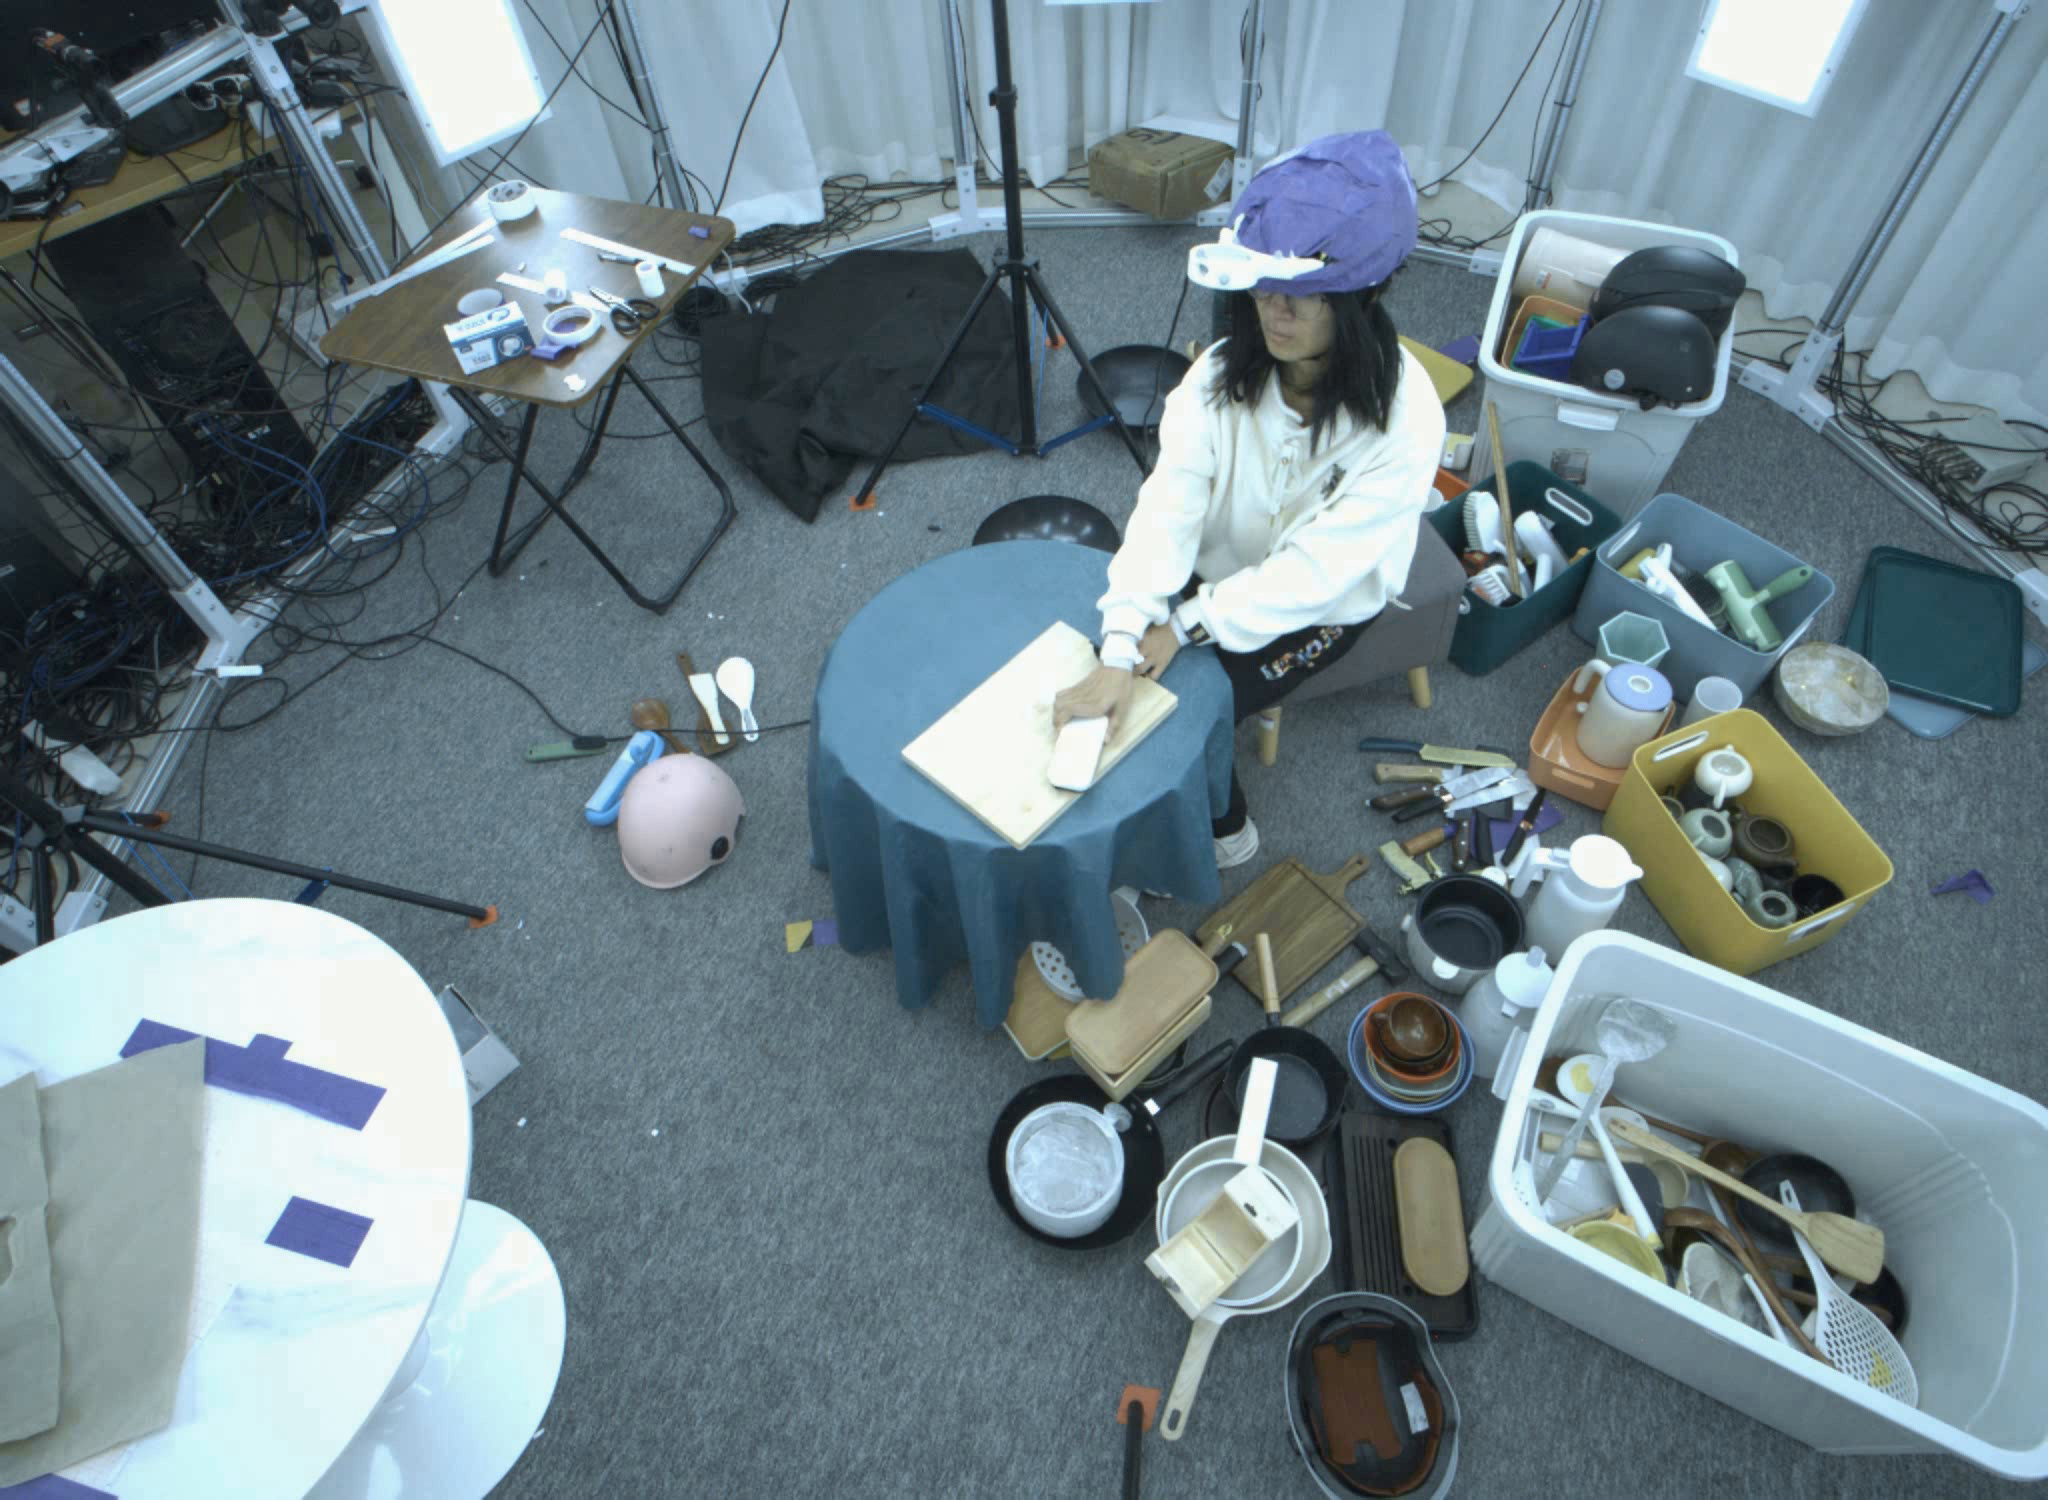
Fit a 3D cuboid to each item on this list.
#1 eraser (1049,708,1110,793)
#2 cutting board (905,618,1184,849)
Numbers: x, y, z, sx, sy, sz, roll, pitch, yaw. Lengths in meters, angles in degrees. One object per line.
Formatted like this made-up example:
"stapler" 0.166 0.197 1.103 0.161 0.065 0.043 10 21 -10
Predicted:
"eraser" 0.081 -0.001 1.745 0.063 0.035 0.131 13 57 11
"cutting board" 0.030 -0.035 1.802 0.246 0.024 0.351 36 63 23
